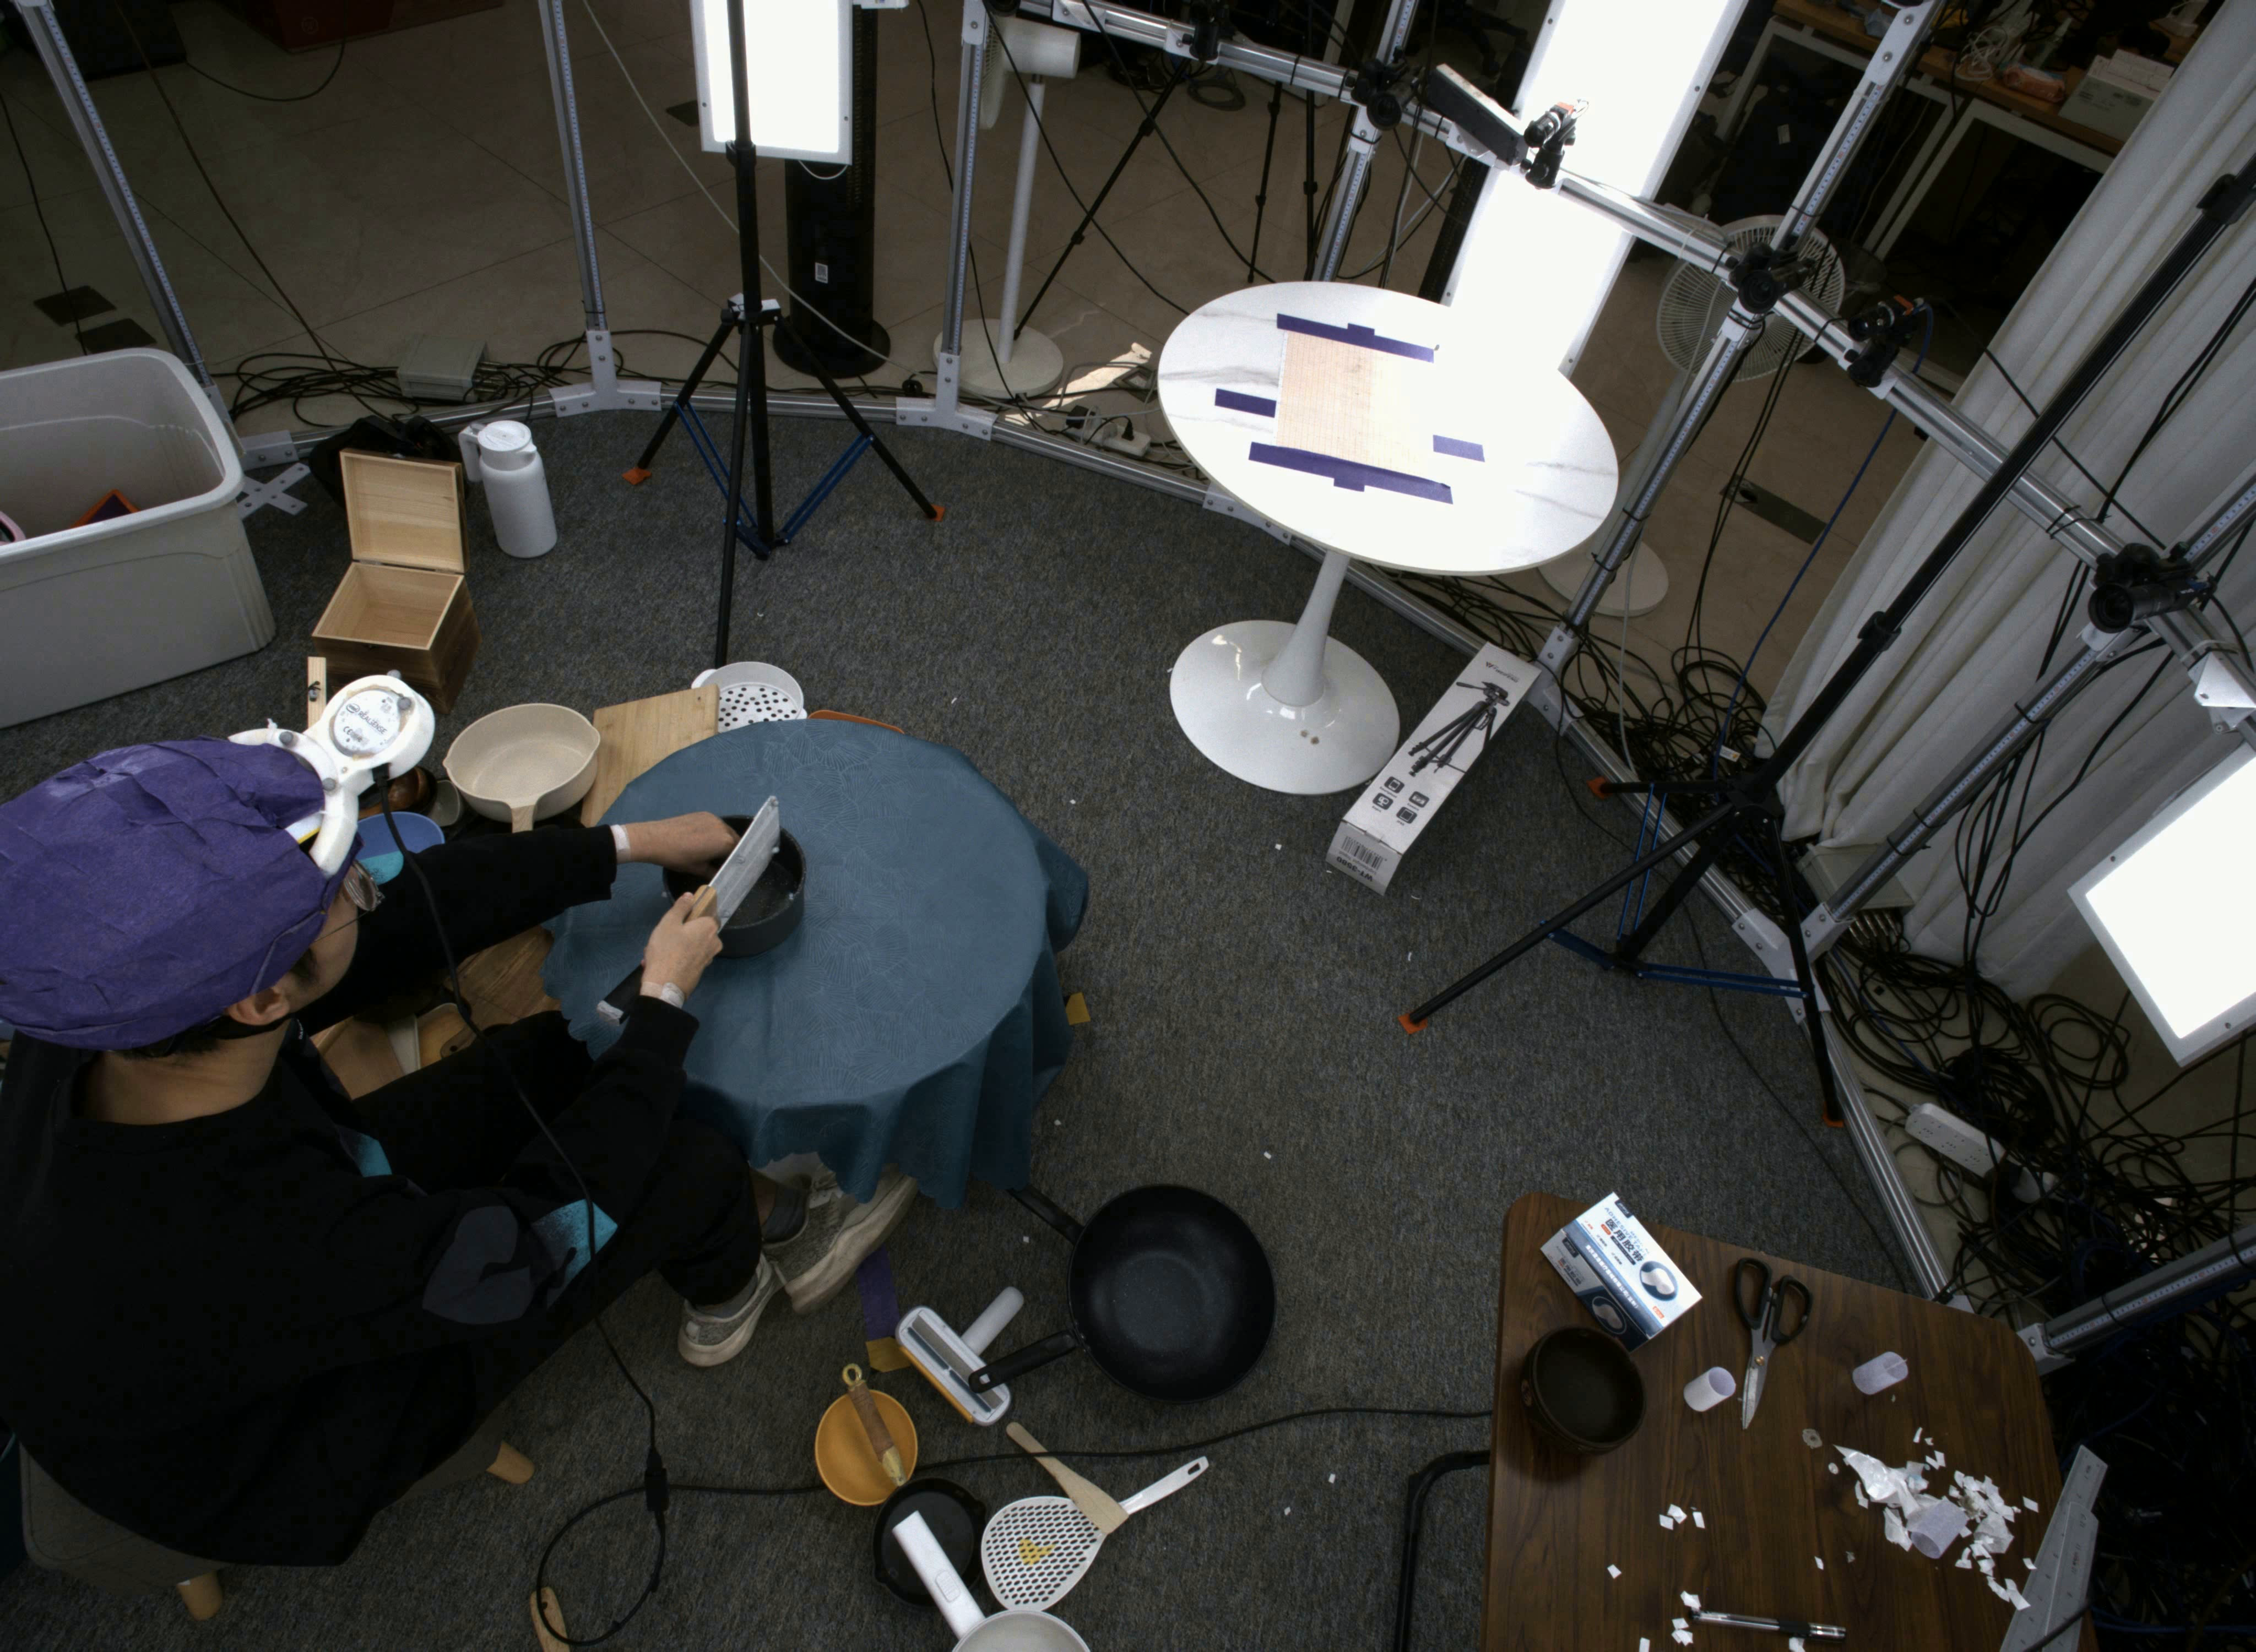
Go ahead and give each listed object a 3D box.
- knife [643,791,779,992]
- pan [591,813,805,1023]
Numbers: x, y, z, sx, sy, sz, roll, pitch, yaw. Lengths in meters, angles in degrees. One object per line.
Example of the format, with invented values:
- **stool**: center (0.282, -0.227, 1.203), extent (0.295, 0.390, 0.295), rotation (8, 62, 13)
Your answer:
- **knife**: center (-0.469, 0.074, 1.479), extent (0.021, 0.117, 0.311), rotation (14, 37, 6)
- **pan**: center (-0.519, 0.124, 1.541), extent (0.169, 0.088, 0.327), rotation (27, 51, 10)
